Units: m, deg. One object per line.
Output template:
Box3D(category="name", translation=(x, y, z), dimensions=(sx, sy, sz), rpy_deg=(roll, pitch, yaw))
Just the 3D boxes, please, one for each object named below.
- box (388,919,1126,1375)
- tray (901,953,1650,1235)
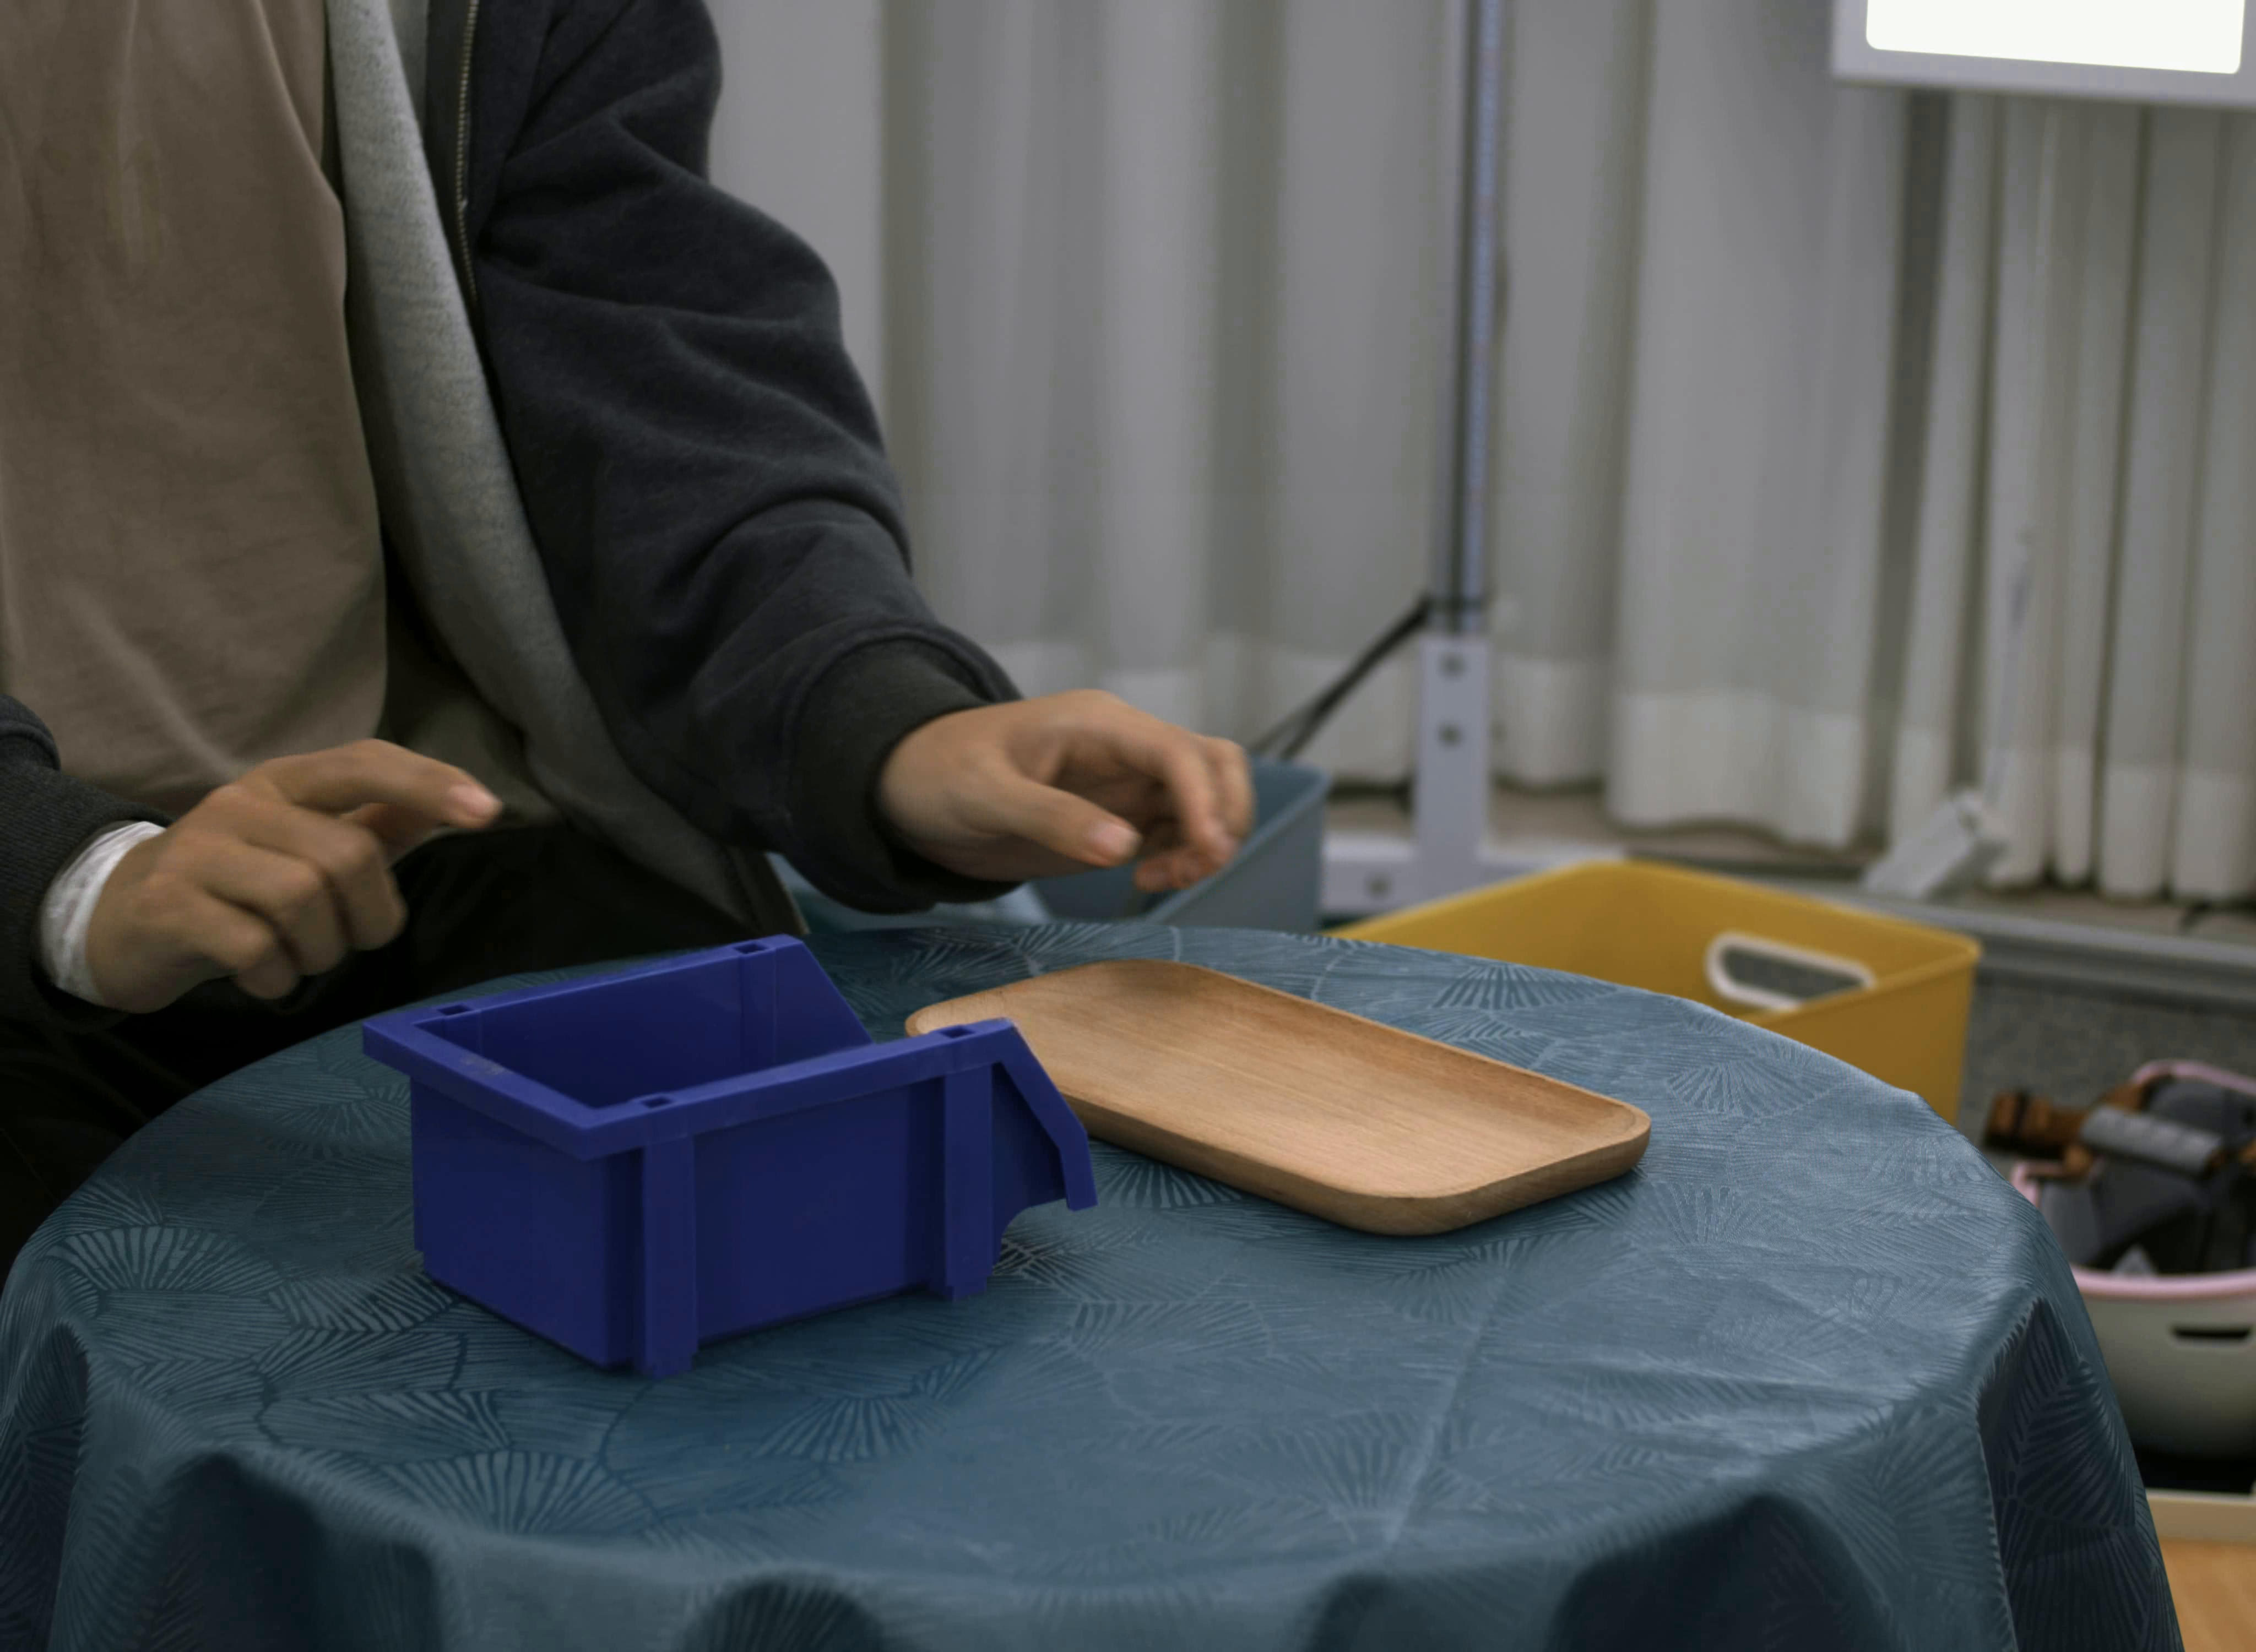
Box3D(category="box", translation=(-0.109, 0.089, 1.547), dimensions=(0.180, 0.082, 0.123), rpy_deg=(-14, 21, -34))
Box3D(category="tray", translation=(0.044, 0.084, 1.693), dimensions=(0.131, 0.023, 0.247), rpy_deg=(-10, 18, -42))
